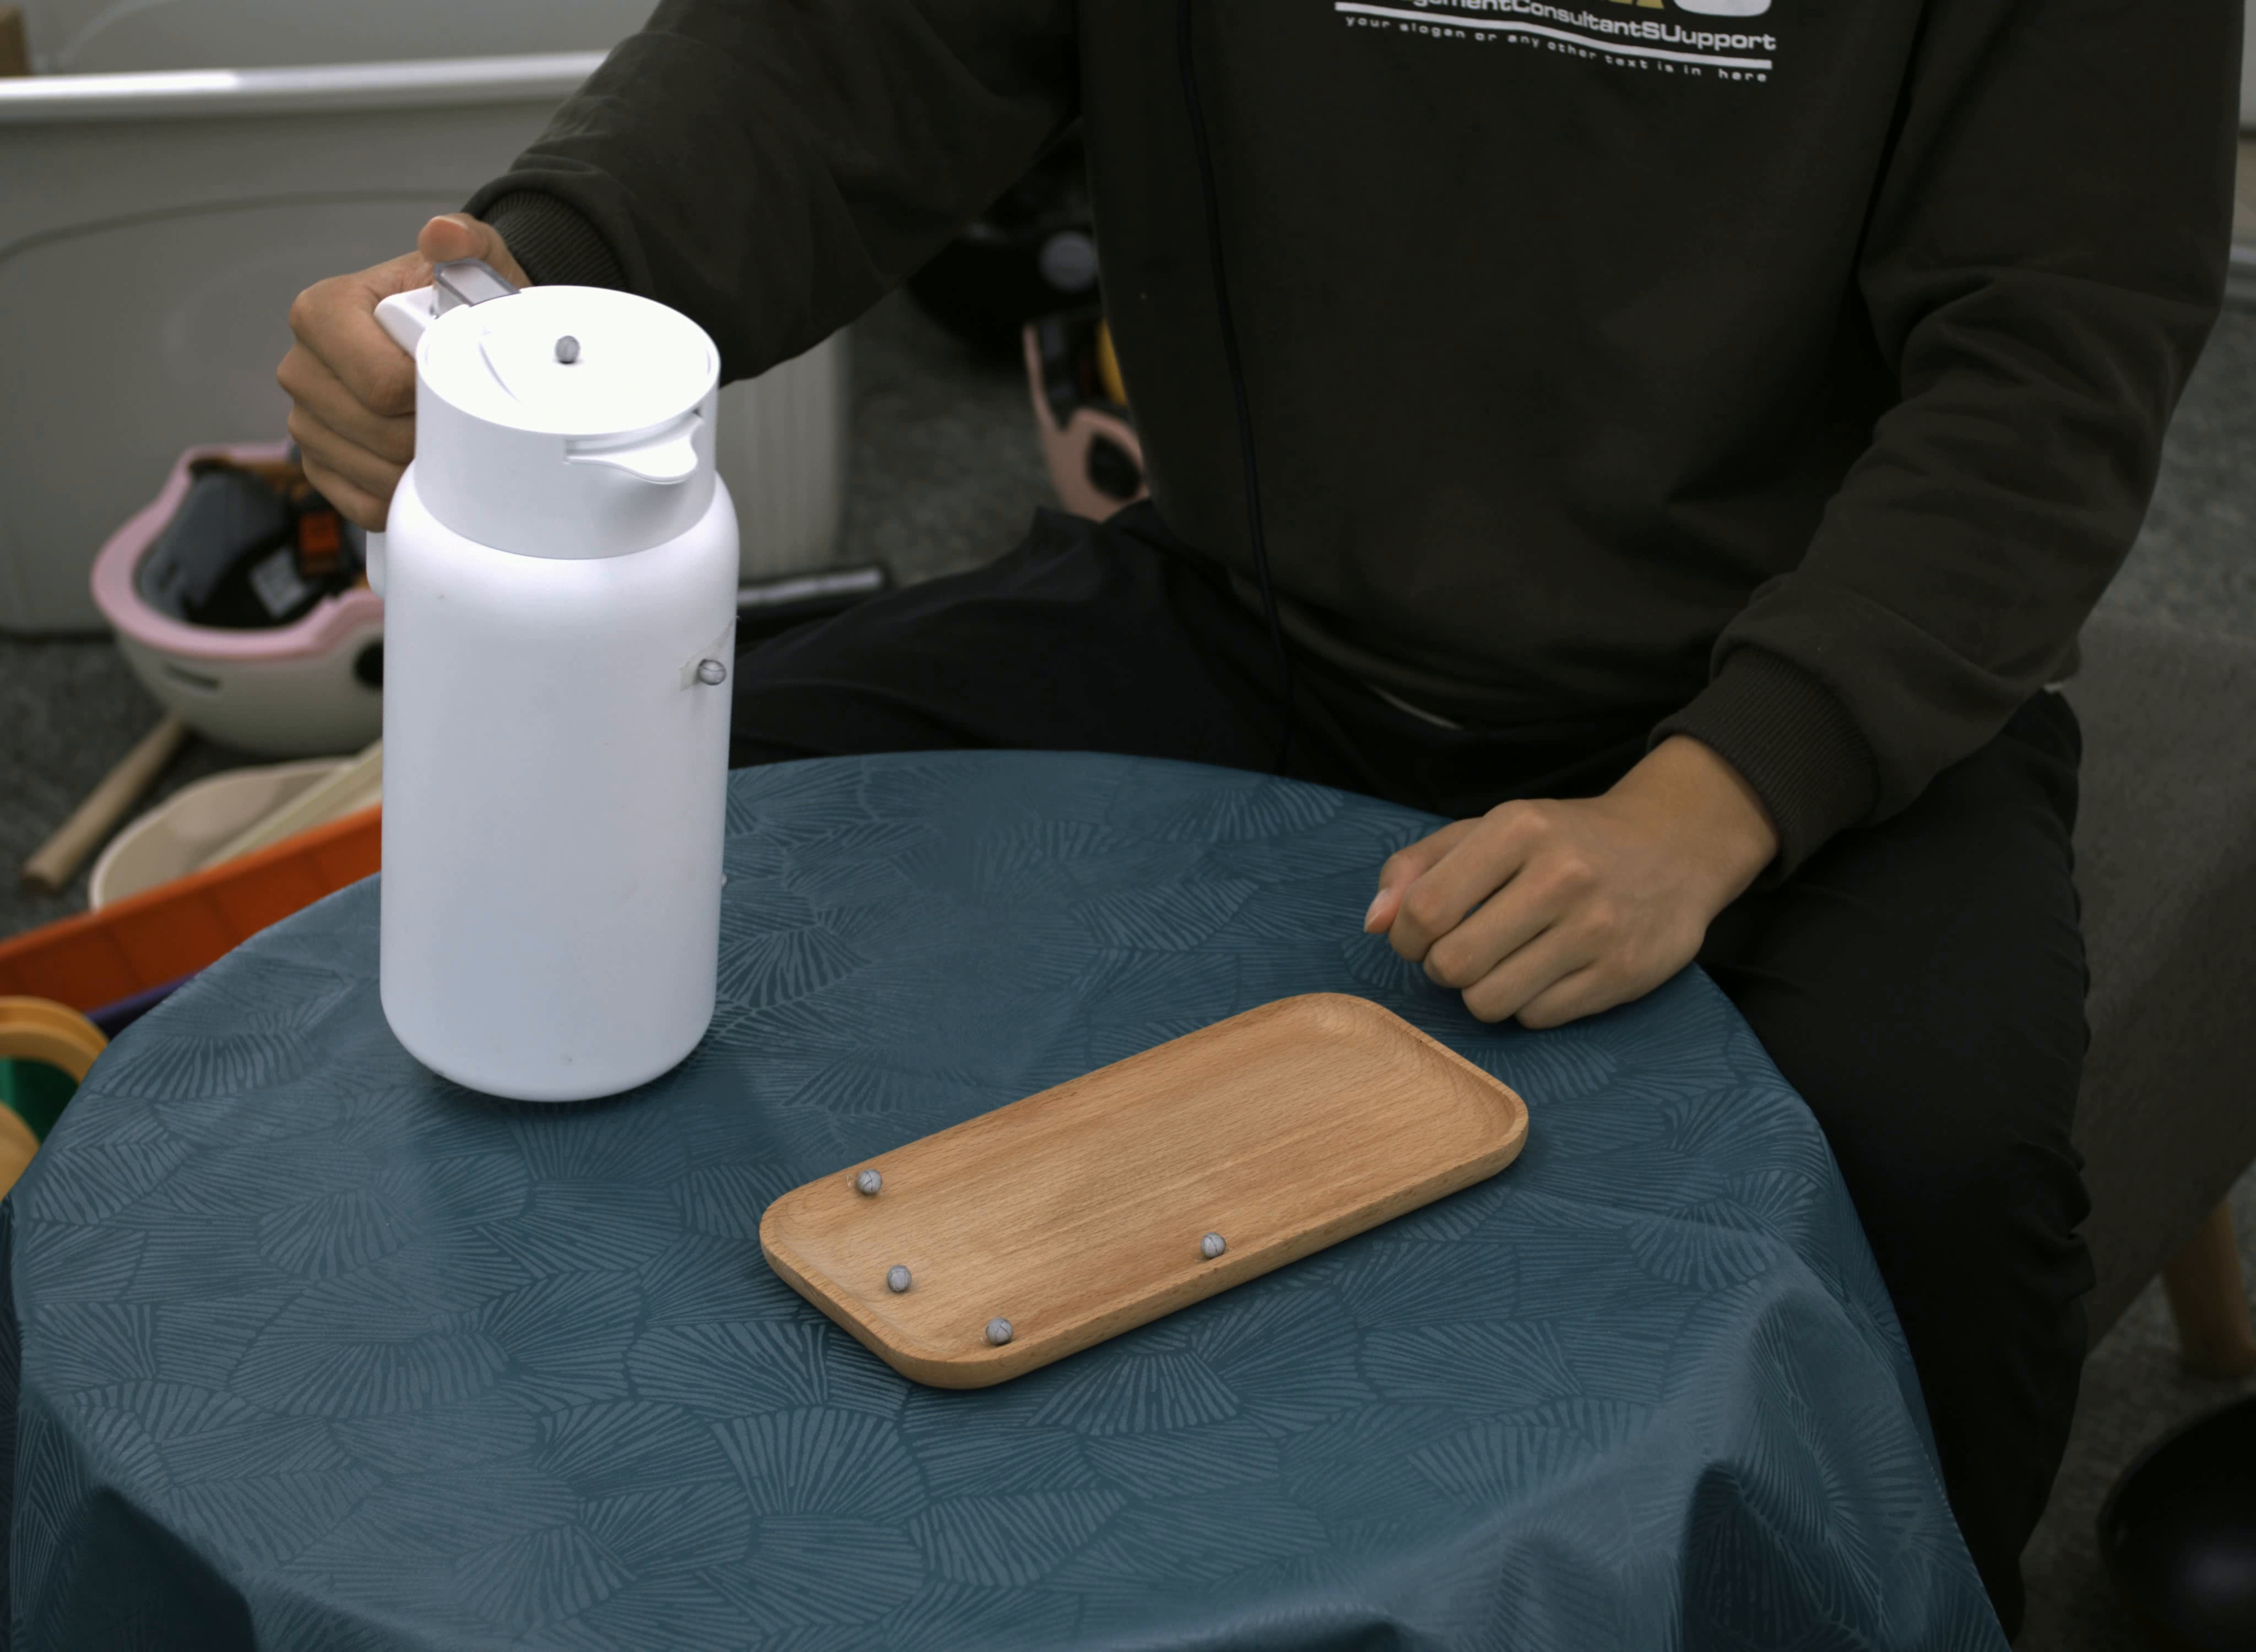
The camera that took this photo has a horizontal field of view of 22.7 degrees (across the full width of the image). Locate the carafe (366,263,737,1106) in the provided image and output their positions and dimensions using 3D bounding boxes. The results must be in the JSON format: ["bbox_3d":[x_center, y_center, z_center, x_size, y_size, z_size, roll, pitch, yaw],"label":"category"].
[{"bbox_3d":[-0.204,-0.051,1.907,0.125,0.265,0.173,-21,40,-32],"label":"carafe"}]

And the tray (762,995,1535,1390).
[{"bbox_3d":[0.008,0.119,1.852,0.252,0.022,0.131,-19,34,-30],"label":"tray"}]
